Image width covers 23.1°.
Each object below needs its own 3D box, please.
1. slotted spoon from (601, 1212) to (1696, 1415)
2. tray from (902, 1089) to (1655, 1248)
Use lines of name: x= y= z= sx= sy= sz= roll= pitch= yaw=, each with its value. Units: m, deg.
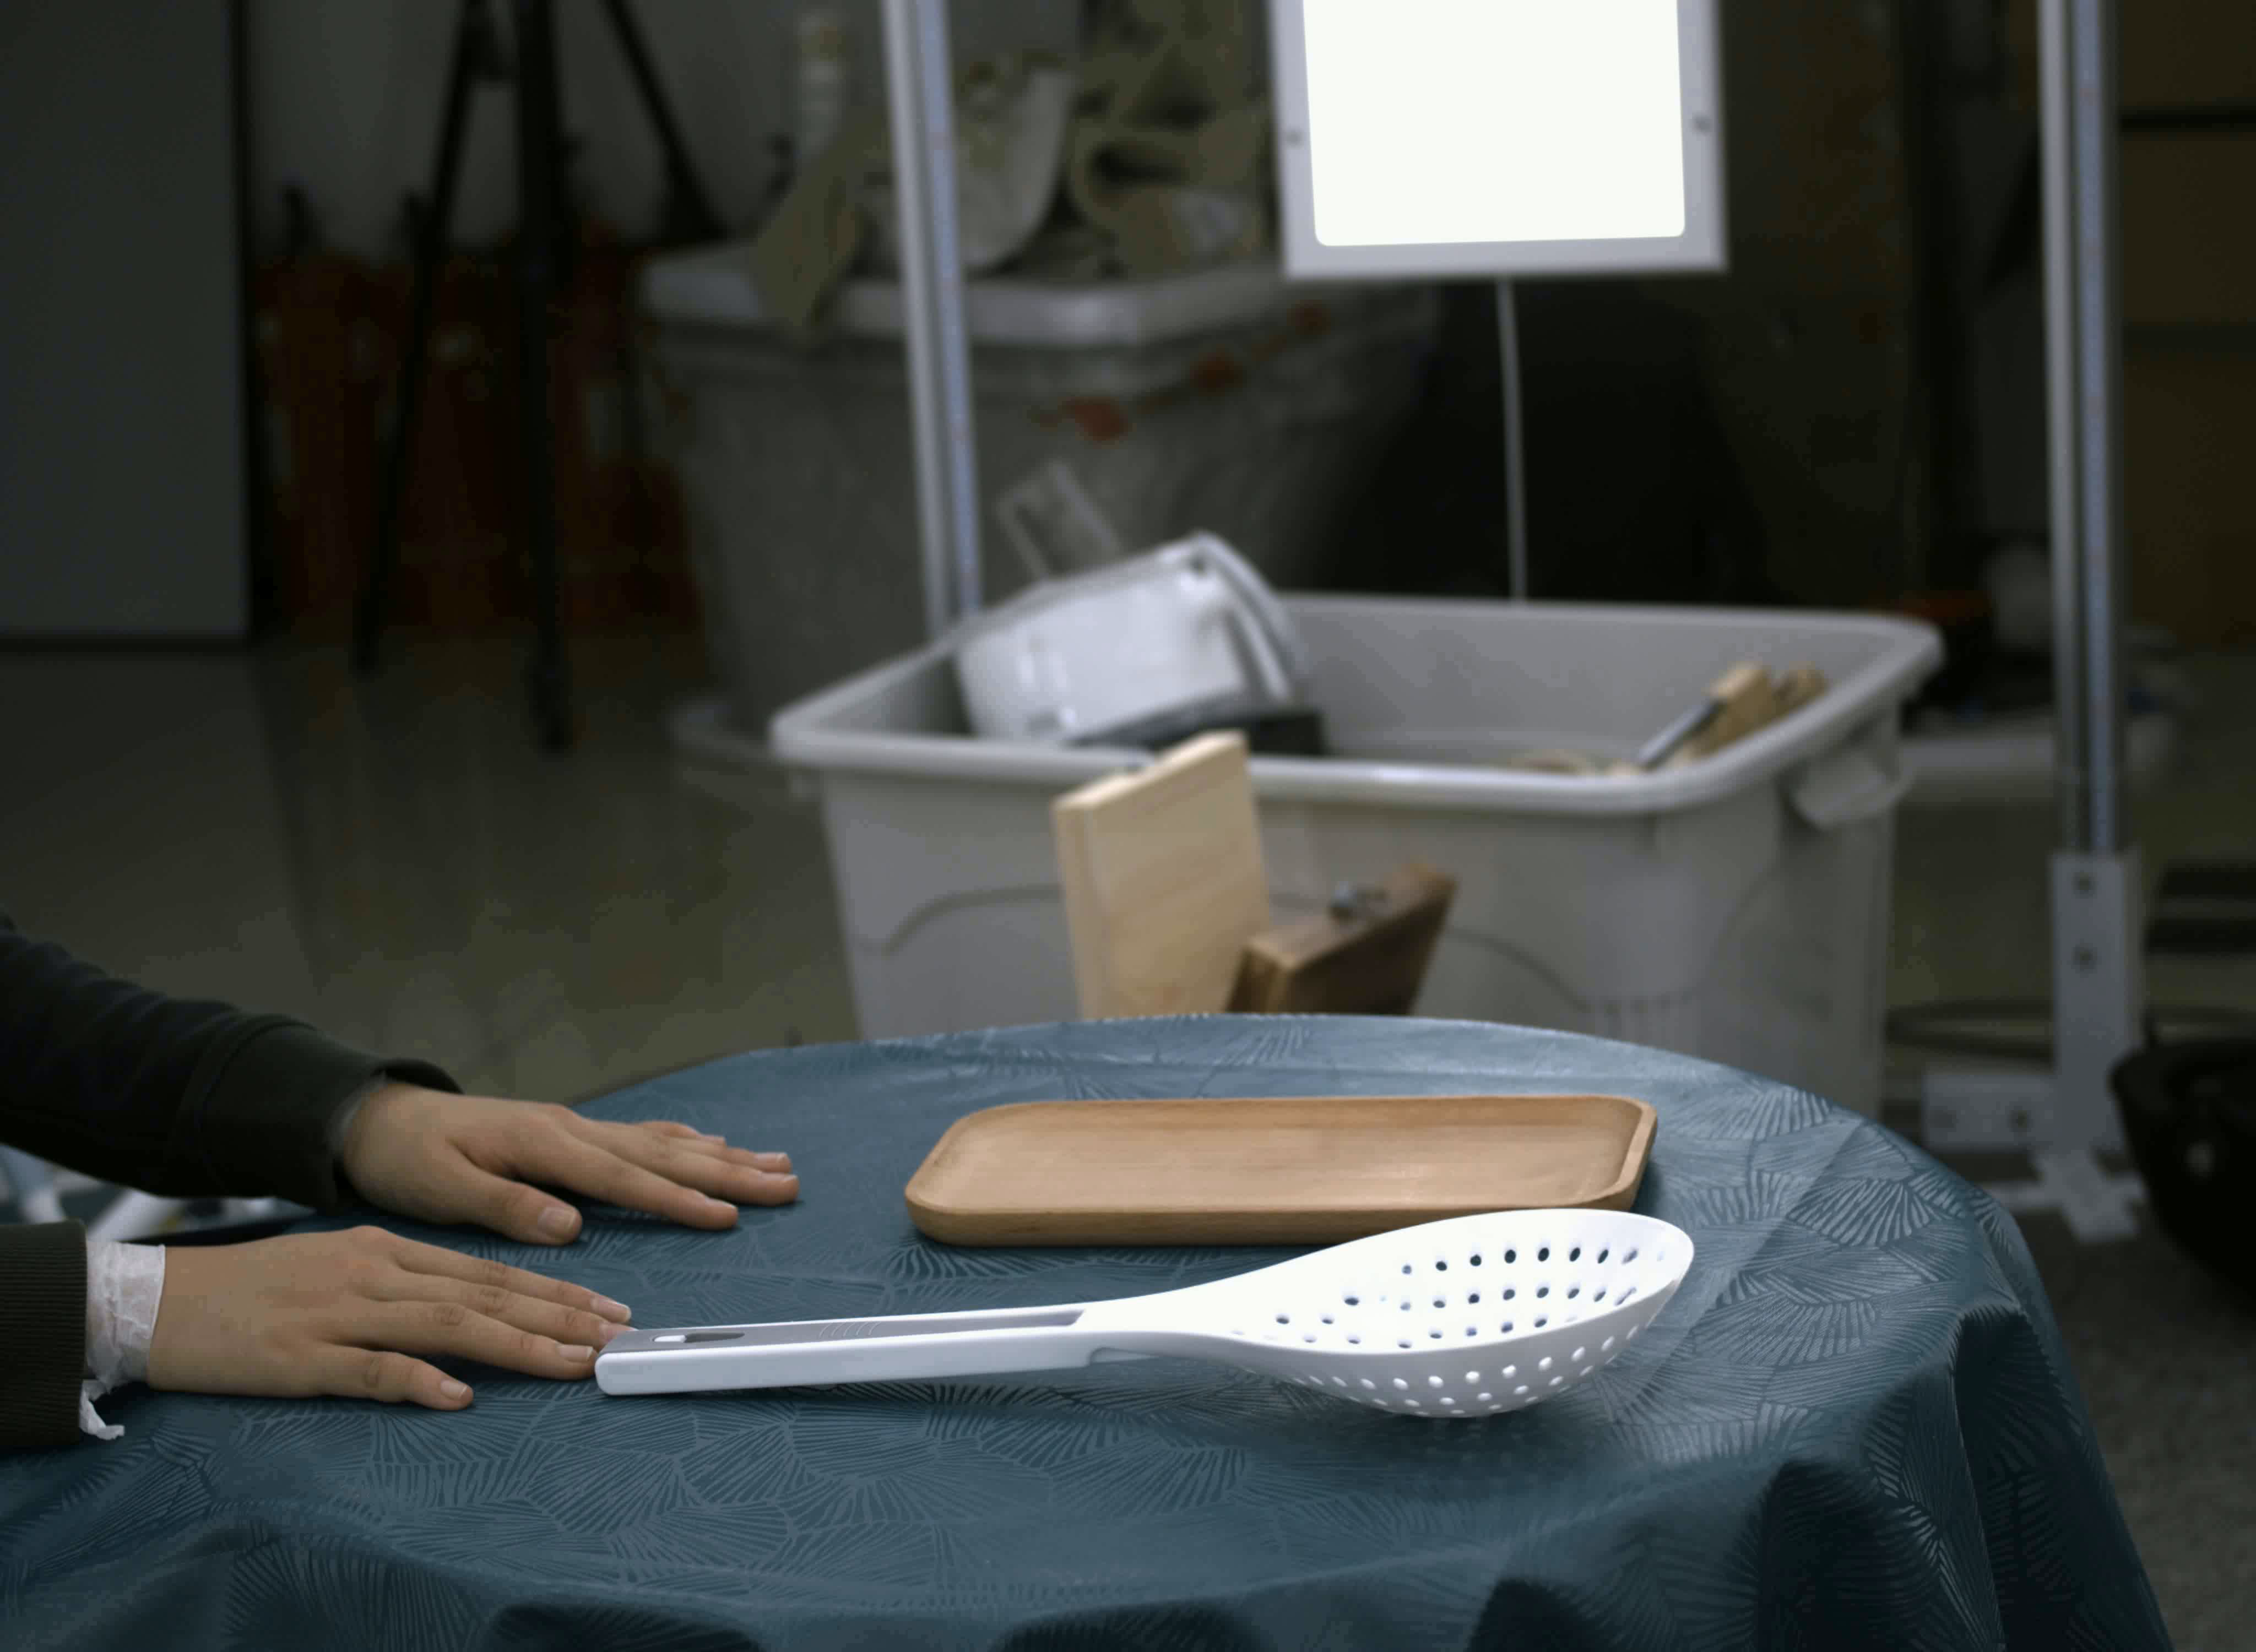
slotted spoon: x=0.002 y=0.154 z=1.690 sx=0.354 sy=0.046 sz=0.134 roll=-1 pitch=12 yaw=18
tray: x=0.053 y=0.117 z=1.882 sx=0.253 sy=0.023 sz=0.129 roll=-2 pitch=12 yaw=15
